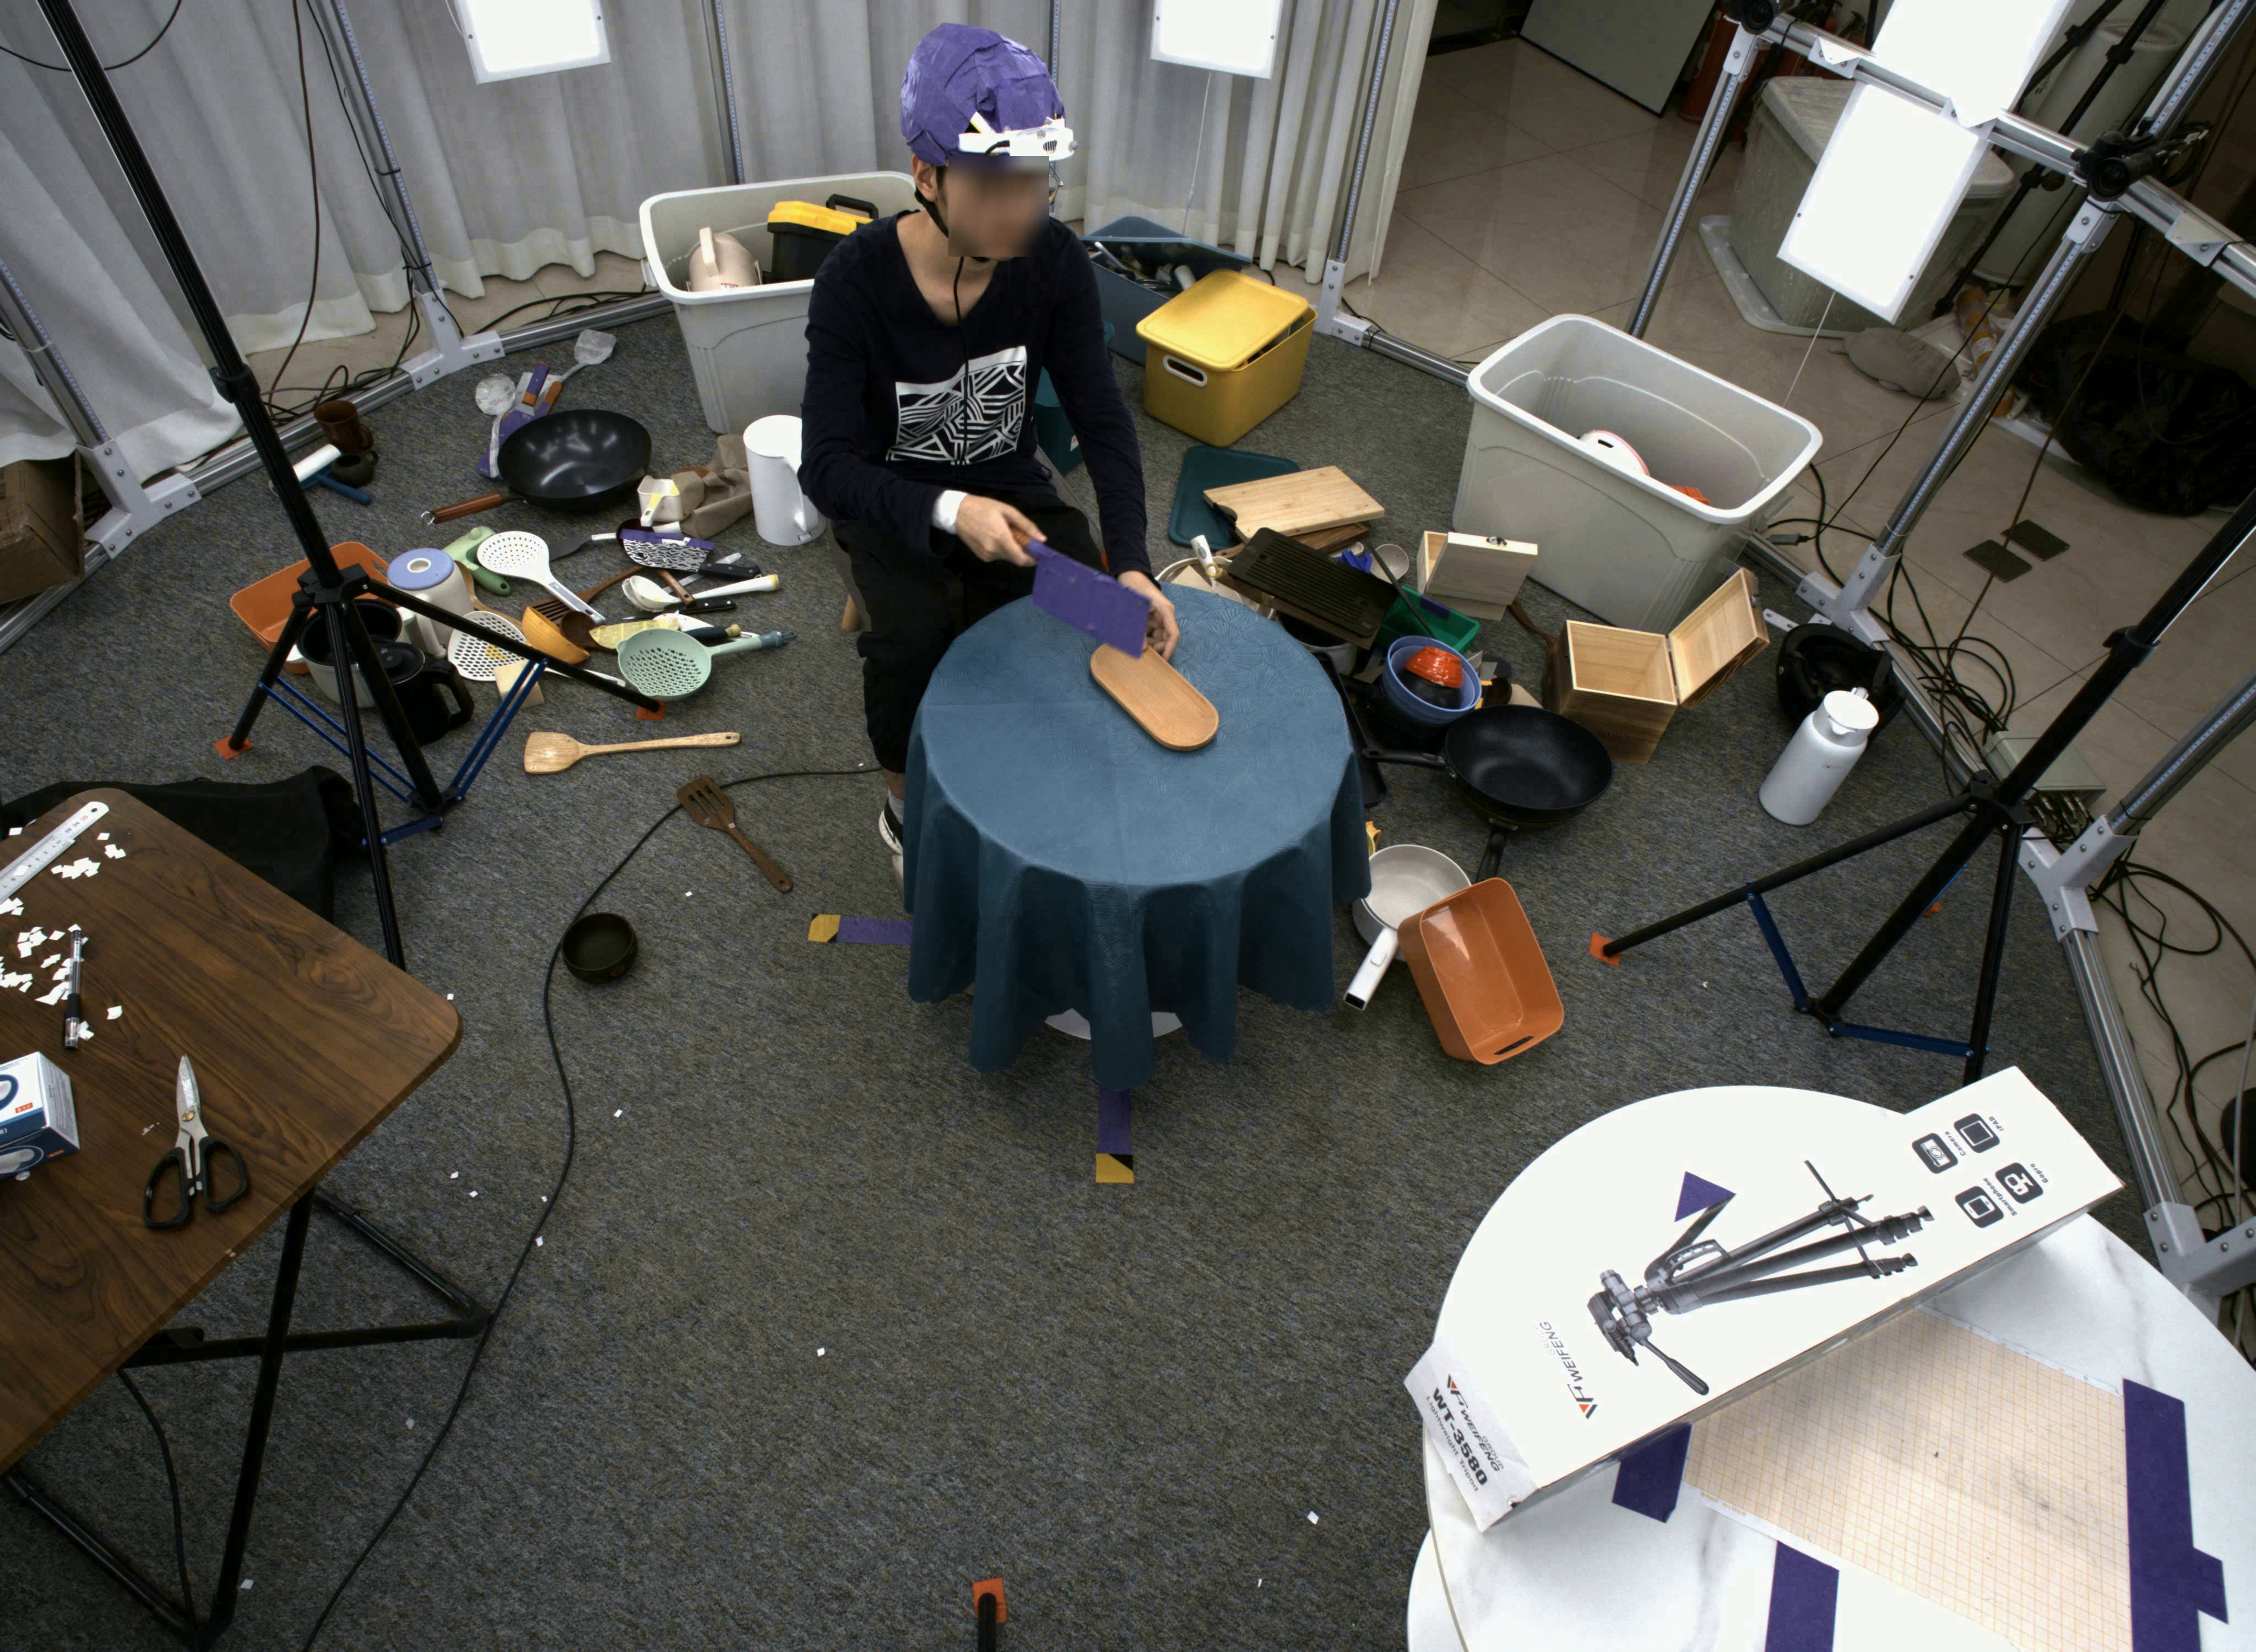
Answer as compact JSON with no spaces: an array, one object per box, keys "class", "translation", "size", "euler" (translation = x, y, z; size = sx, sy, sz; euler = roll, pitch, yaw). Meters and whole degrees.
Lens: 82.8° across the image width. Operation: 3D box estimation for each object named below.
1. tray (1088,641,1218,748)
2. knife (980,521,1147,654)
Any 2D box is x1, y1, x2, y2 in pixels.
[{"class":"tray","translation":[0.034,-0.190,1.821],"size":[0.102,0.020,0.235],"euler":[-31,56,-24]},{"class":"knife","translation":[-0.096,-0.327,1.772],"size":[0.032,0.102,0.320],"euler":[-17,40,-43]}]
